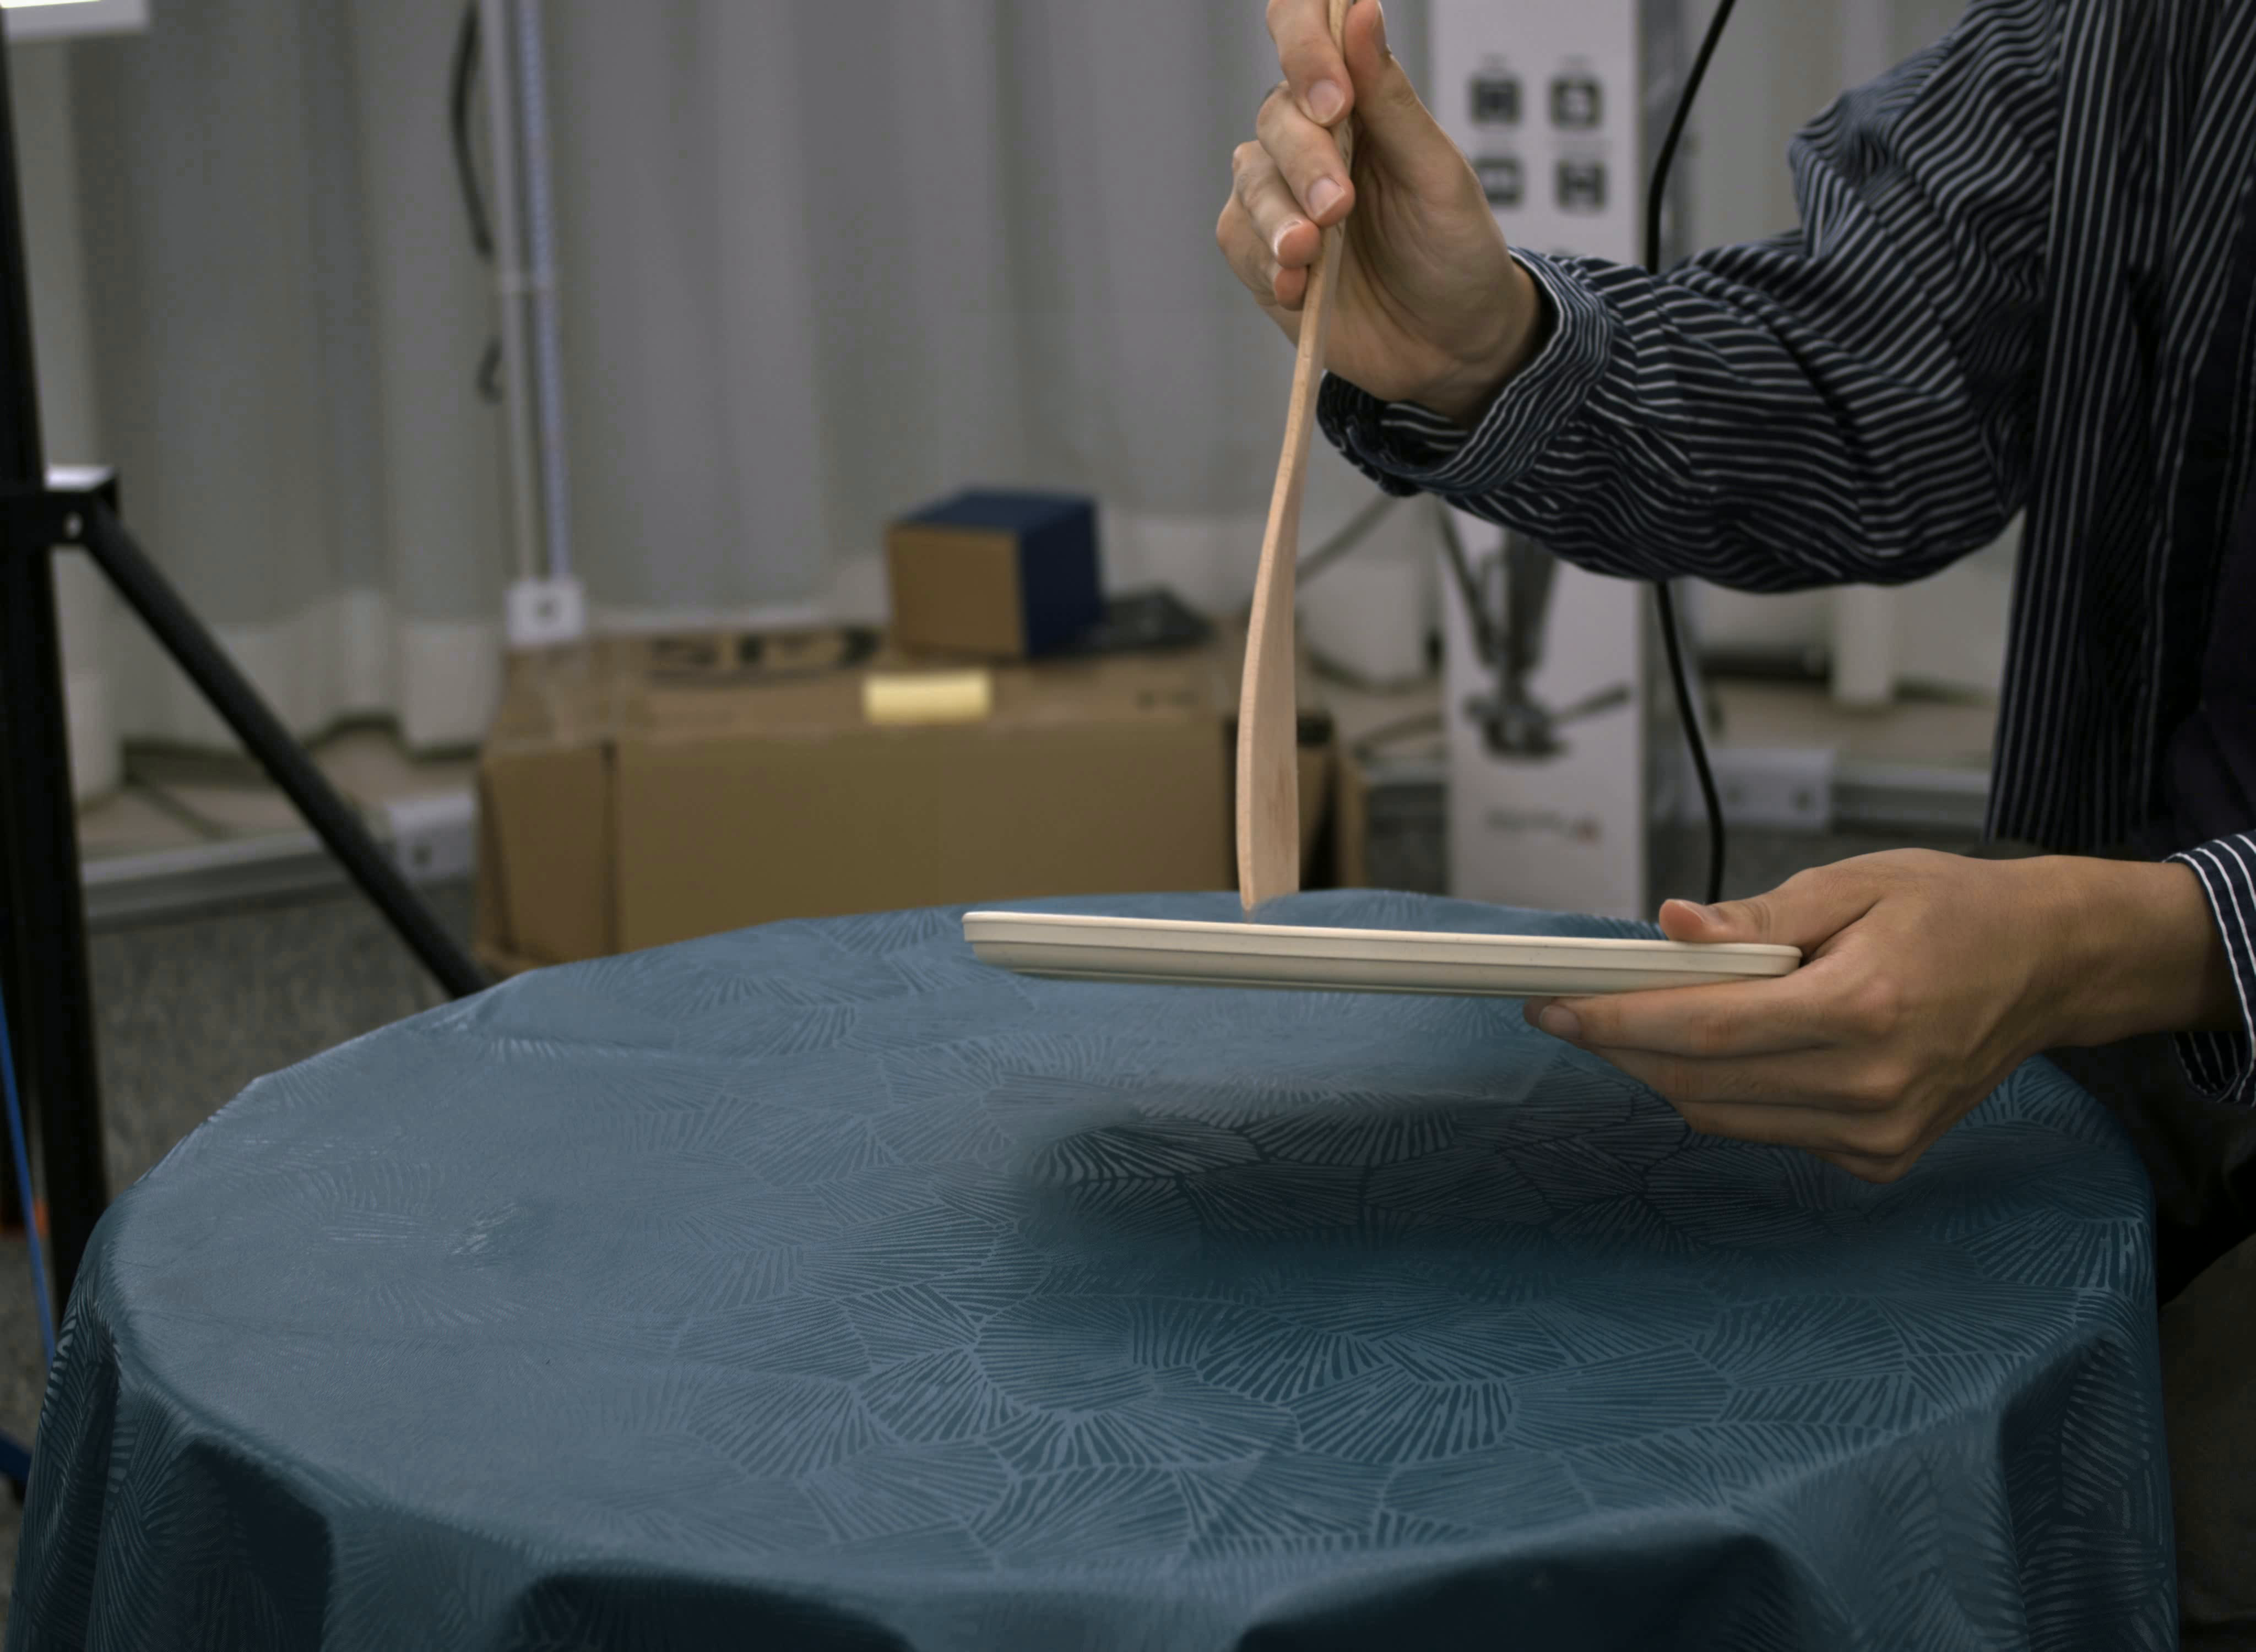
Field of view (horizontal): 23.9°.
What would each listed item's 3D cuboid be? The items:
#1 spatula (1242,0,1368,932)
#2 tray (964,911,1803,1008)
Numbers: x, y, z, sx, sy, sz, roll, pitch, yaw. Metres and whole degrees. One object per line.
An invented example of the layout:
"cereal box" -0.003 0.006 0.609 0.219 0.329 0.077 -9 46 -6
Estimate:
"spatula" 0.056 -0.115 1.575 0.016 0.330 0.079 4 -15 11
"tray" 0.074 0.040 1.556 0.239 0.017 0.170 3 -1 6
